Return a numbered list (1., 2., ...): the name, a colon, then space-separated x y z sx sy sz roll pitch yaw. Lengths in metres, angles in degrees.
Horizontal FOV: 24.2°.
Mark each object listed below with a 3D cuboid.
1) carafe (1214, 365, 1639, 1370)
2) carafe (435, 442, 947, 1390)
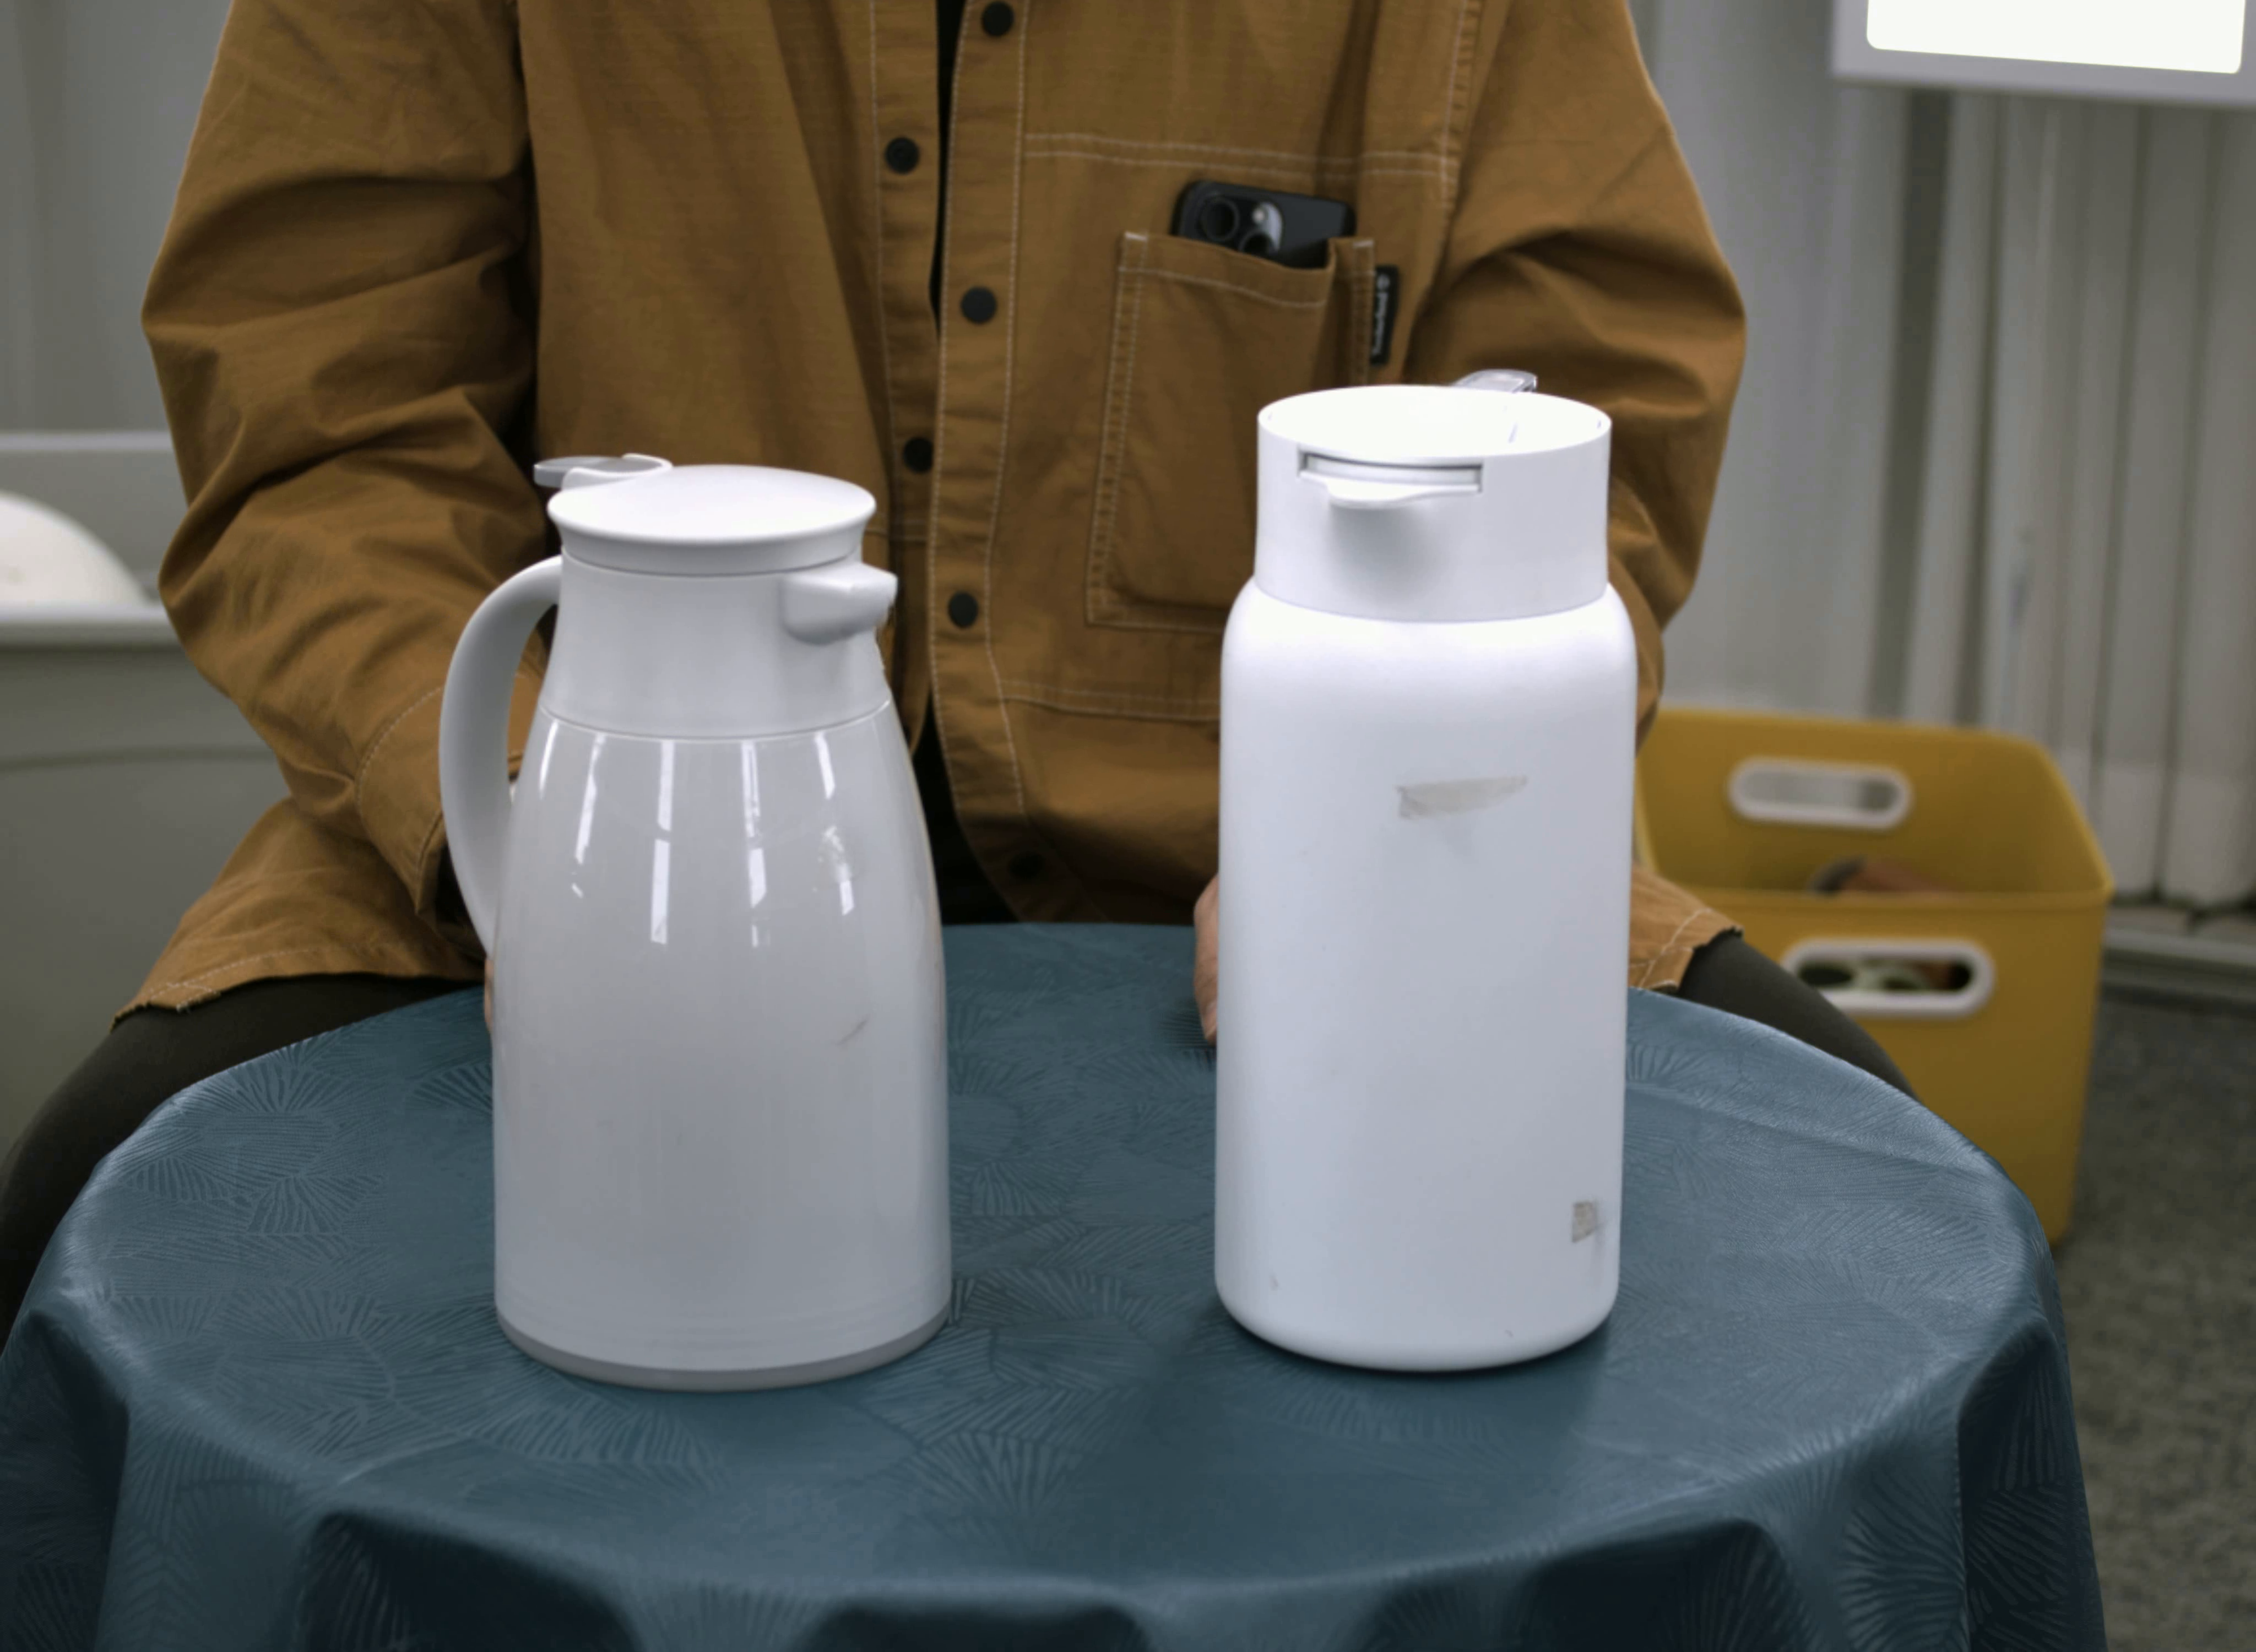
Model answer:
1. carafe: 0.088 0.007 1.502 0.123 0.271 0.173 4 16 19
2. carafe: -0.132 0.017 1.495 0.165 0.250 0.133 12 19 37
